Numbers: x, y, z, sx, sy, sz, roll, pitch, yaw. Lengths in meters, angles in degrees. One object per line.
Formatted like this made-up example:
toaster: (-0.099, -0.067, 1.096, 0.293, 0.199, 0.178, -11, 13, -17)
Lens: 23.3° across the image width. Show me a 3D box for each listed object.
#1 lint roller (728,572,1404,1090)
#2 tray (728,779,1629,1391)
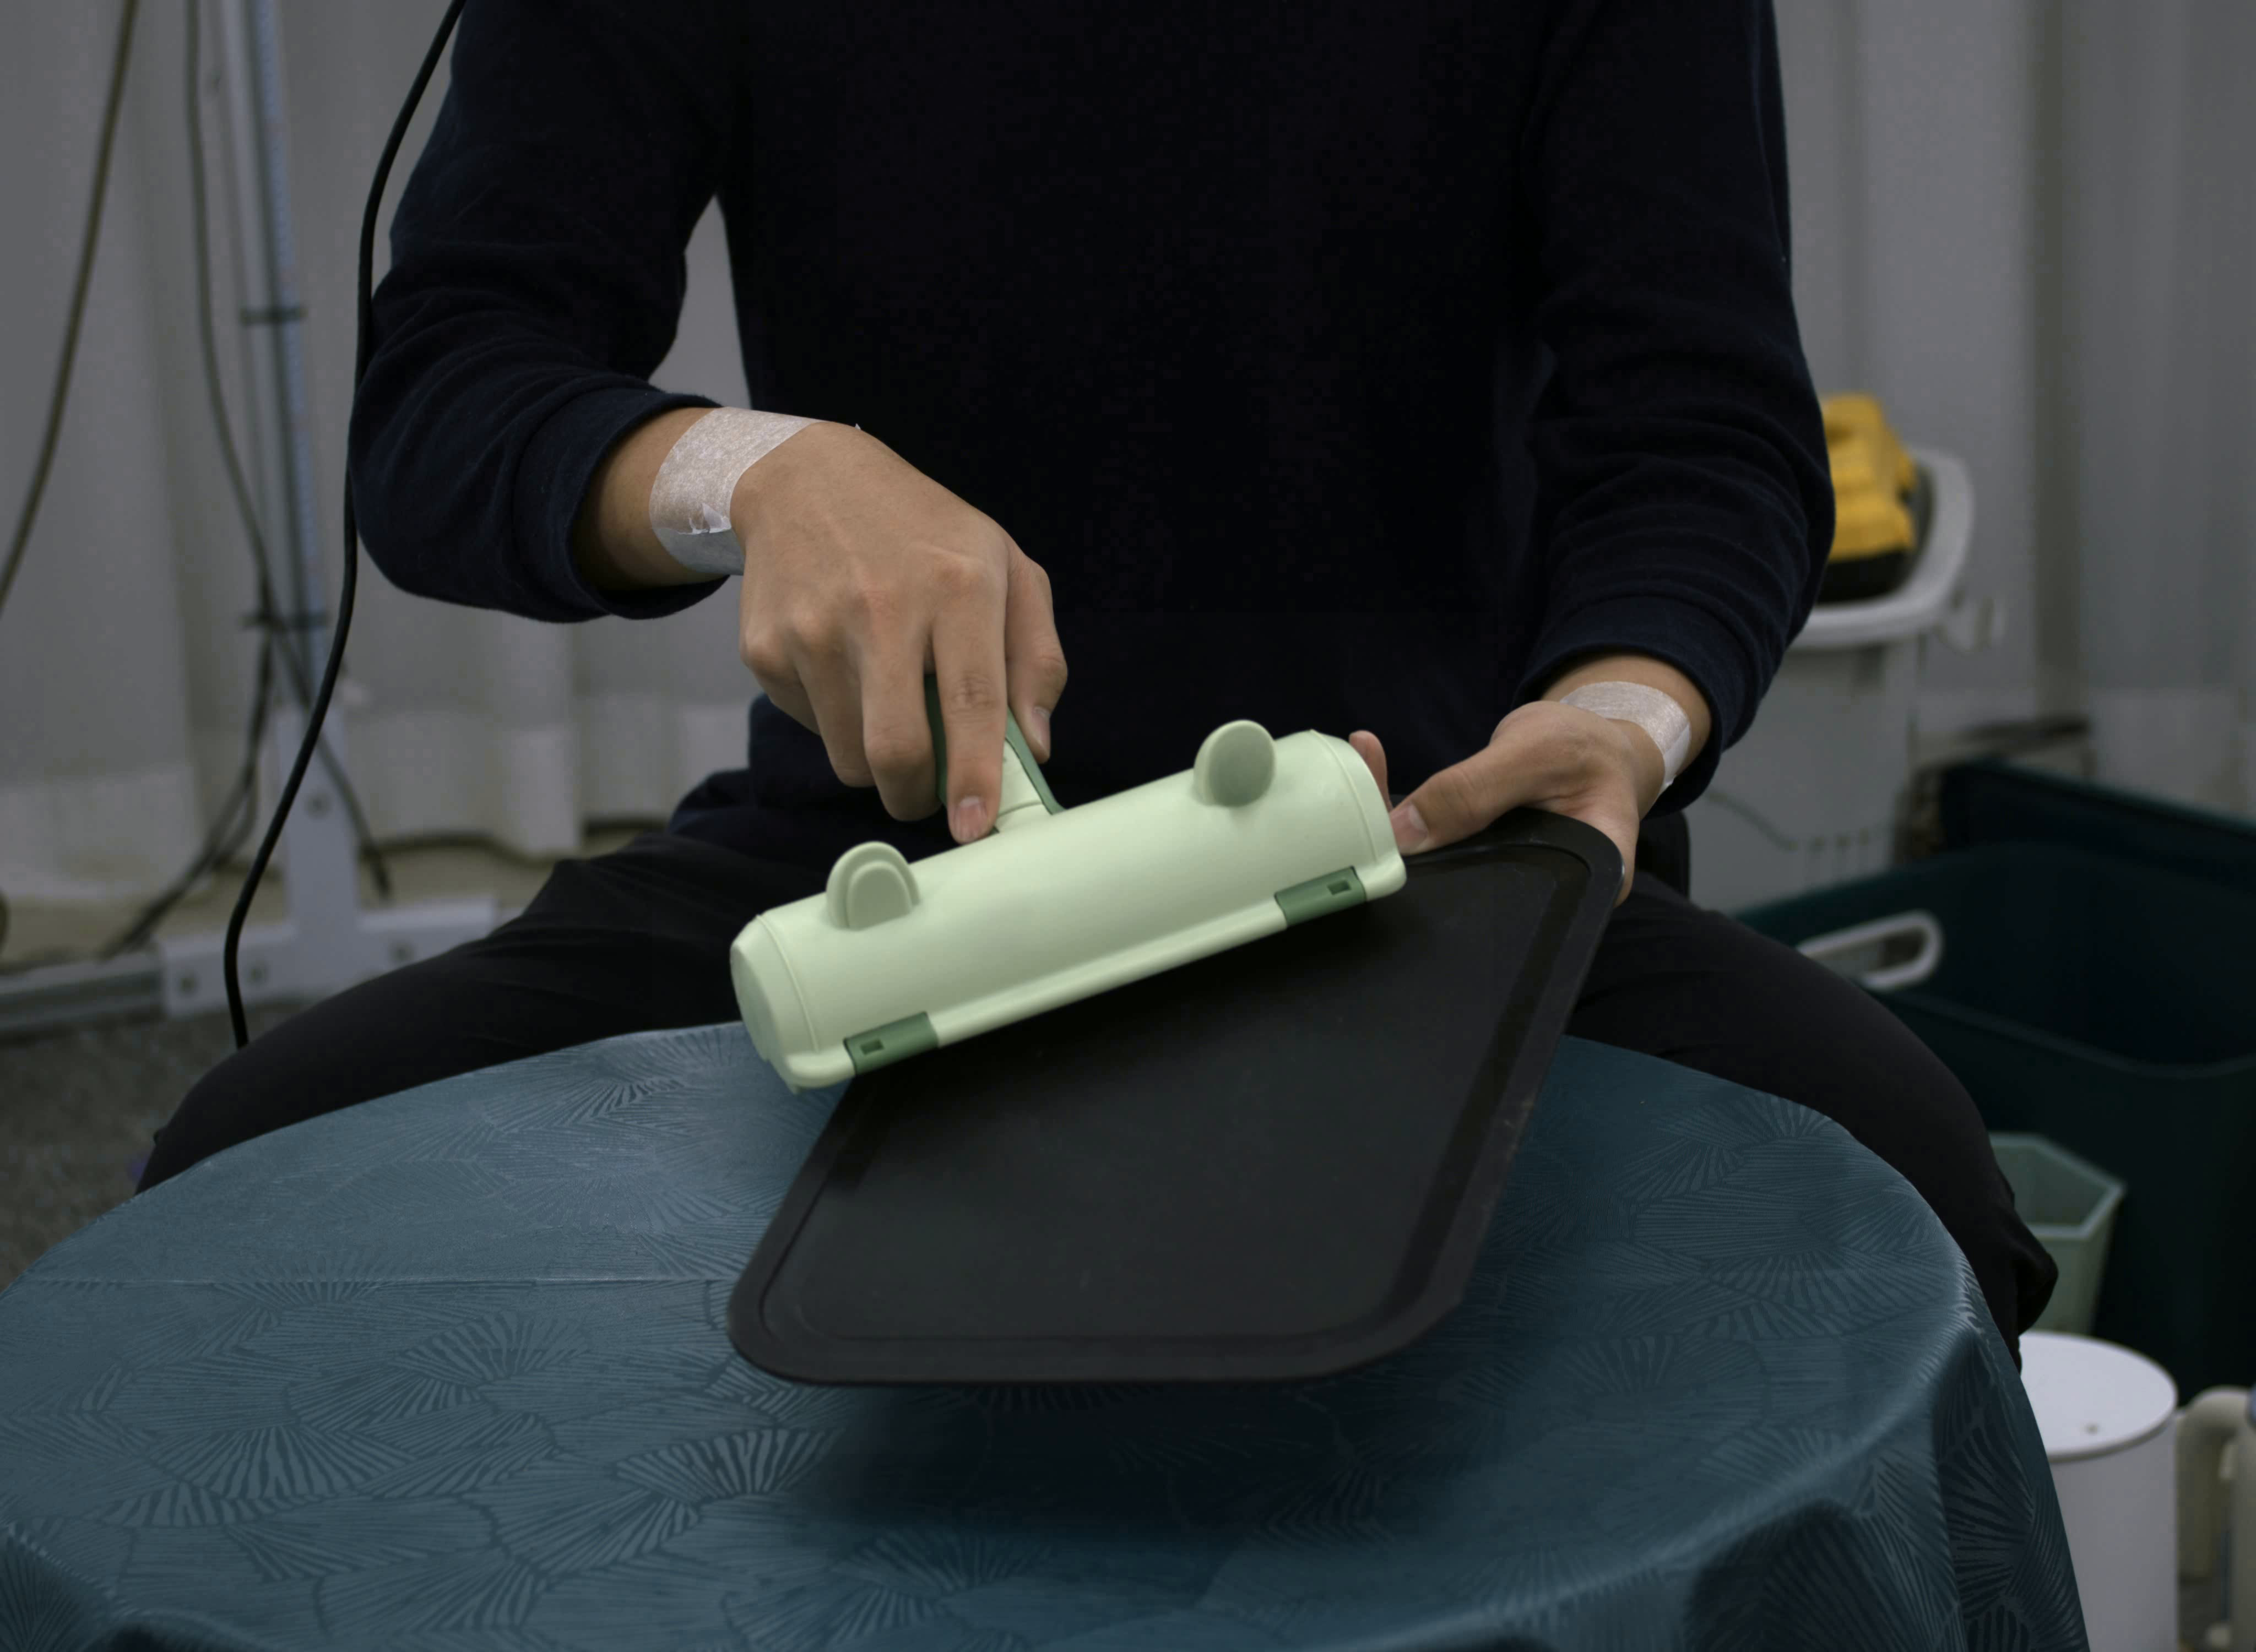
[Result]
lint roller: (-0.041, -0.023, 1.627, 0.198, 0.081, 0.186, -19, 58, -15)
tray: (0.021, 0.065, 1.565, 0.211, 0.010, 0.328, -2, 29, 19)
